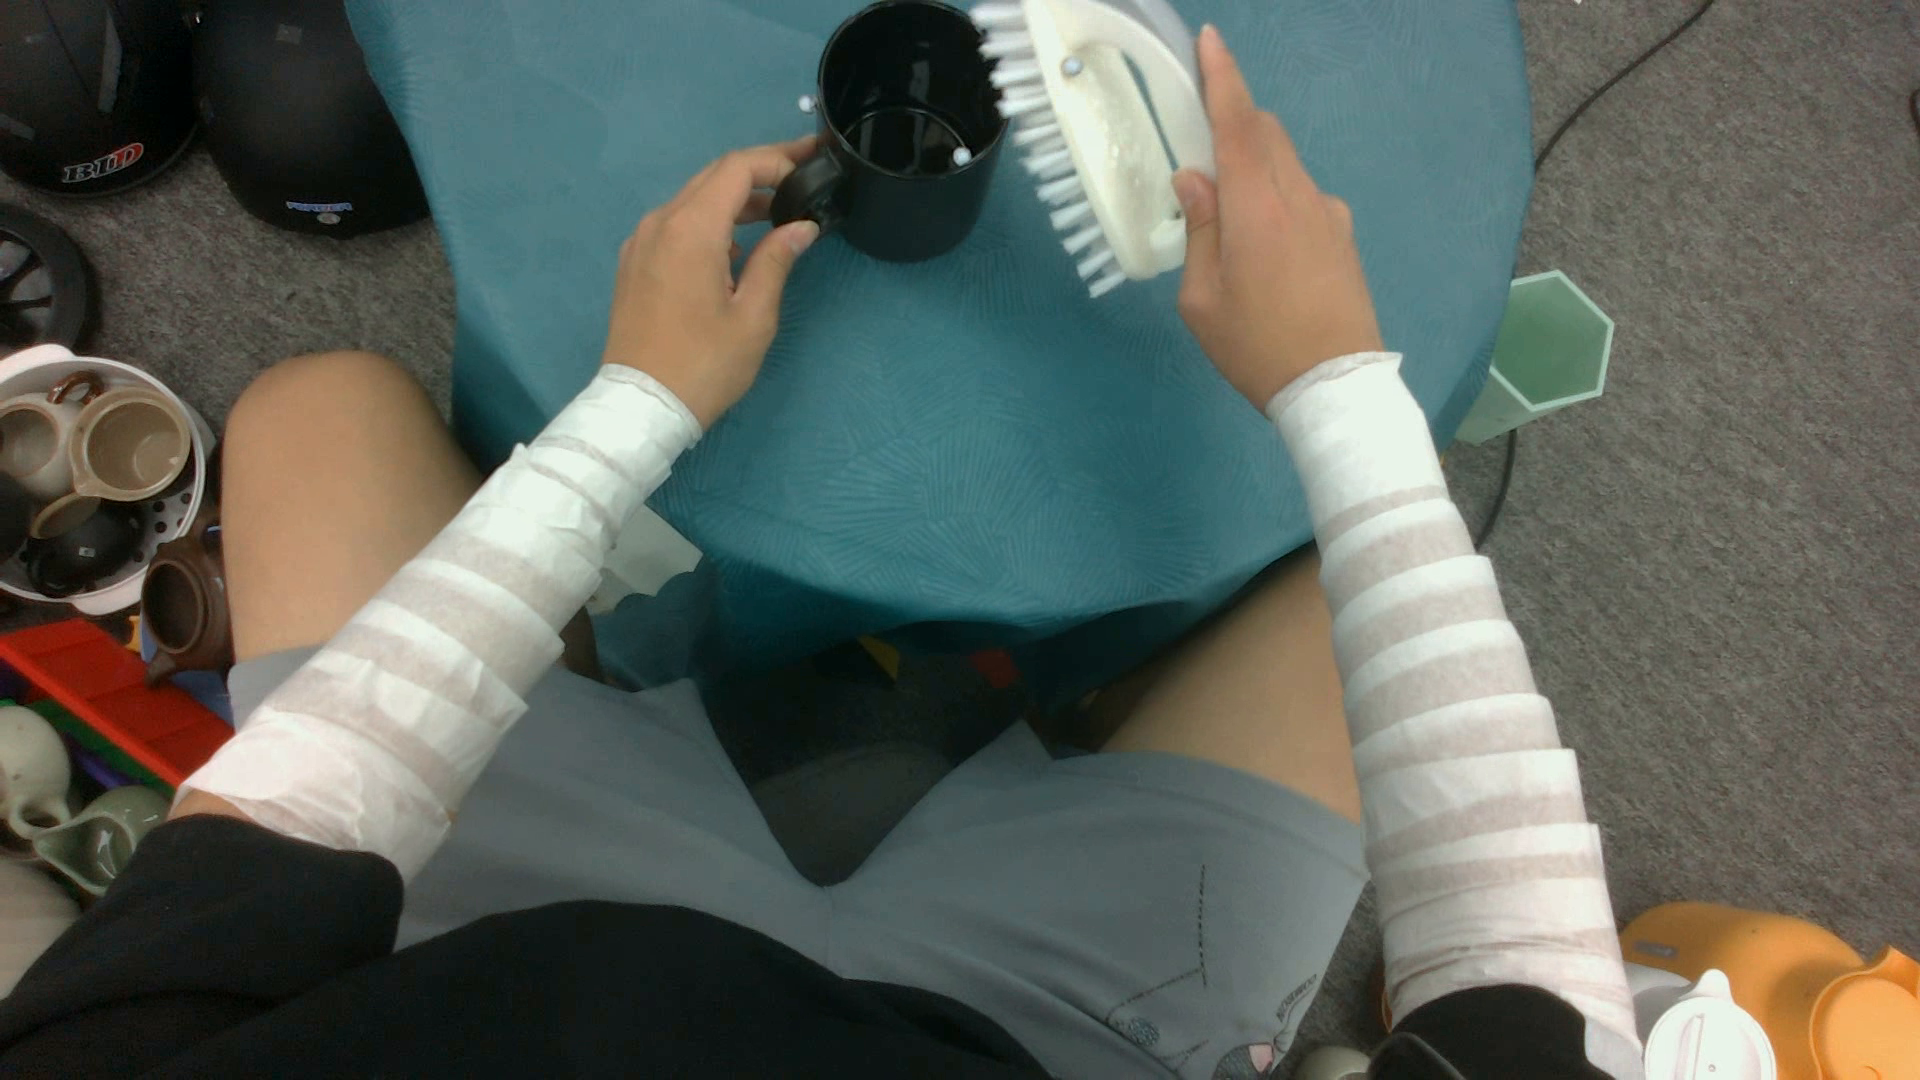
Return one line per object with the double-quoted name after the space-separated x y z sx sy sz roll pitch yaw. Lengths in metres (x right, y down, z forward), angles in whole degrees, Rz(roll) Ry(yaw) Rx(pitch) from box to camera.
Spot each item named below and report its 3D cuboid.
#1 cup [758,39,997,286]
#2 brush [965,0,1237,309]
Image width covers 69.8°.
-0.046 -0.173 0.679 0.124 0.105 0.088 -36 89 -10 "cup"
0.068 -0.198 0.630 0.062 0.094 0.175 -45 115 -39 "brush"
